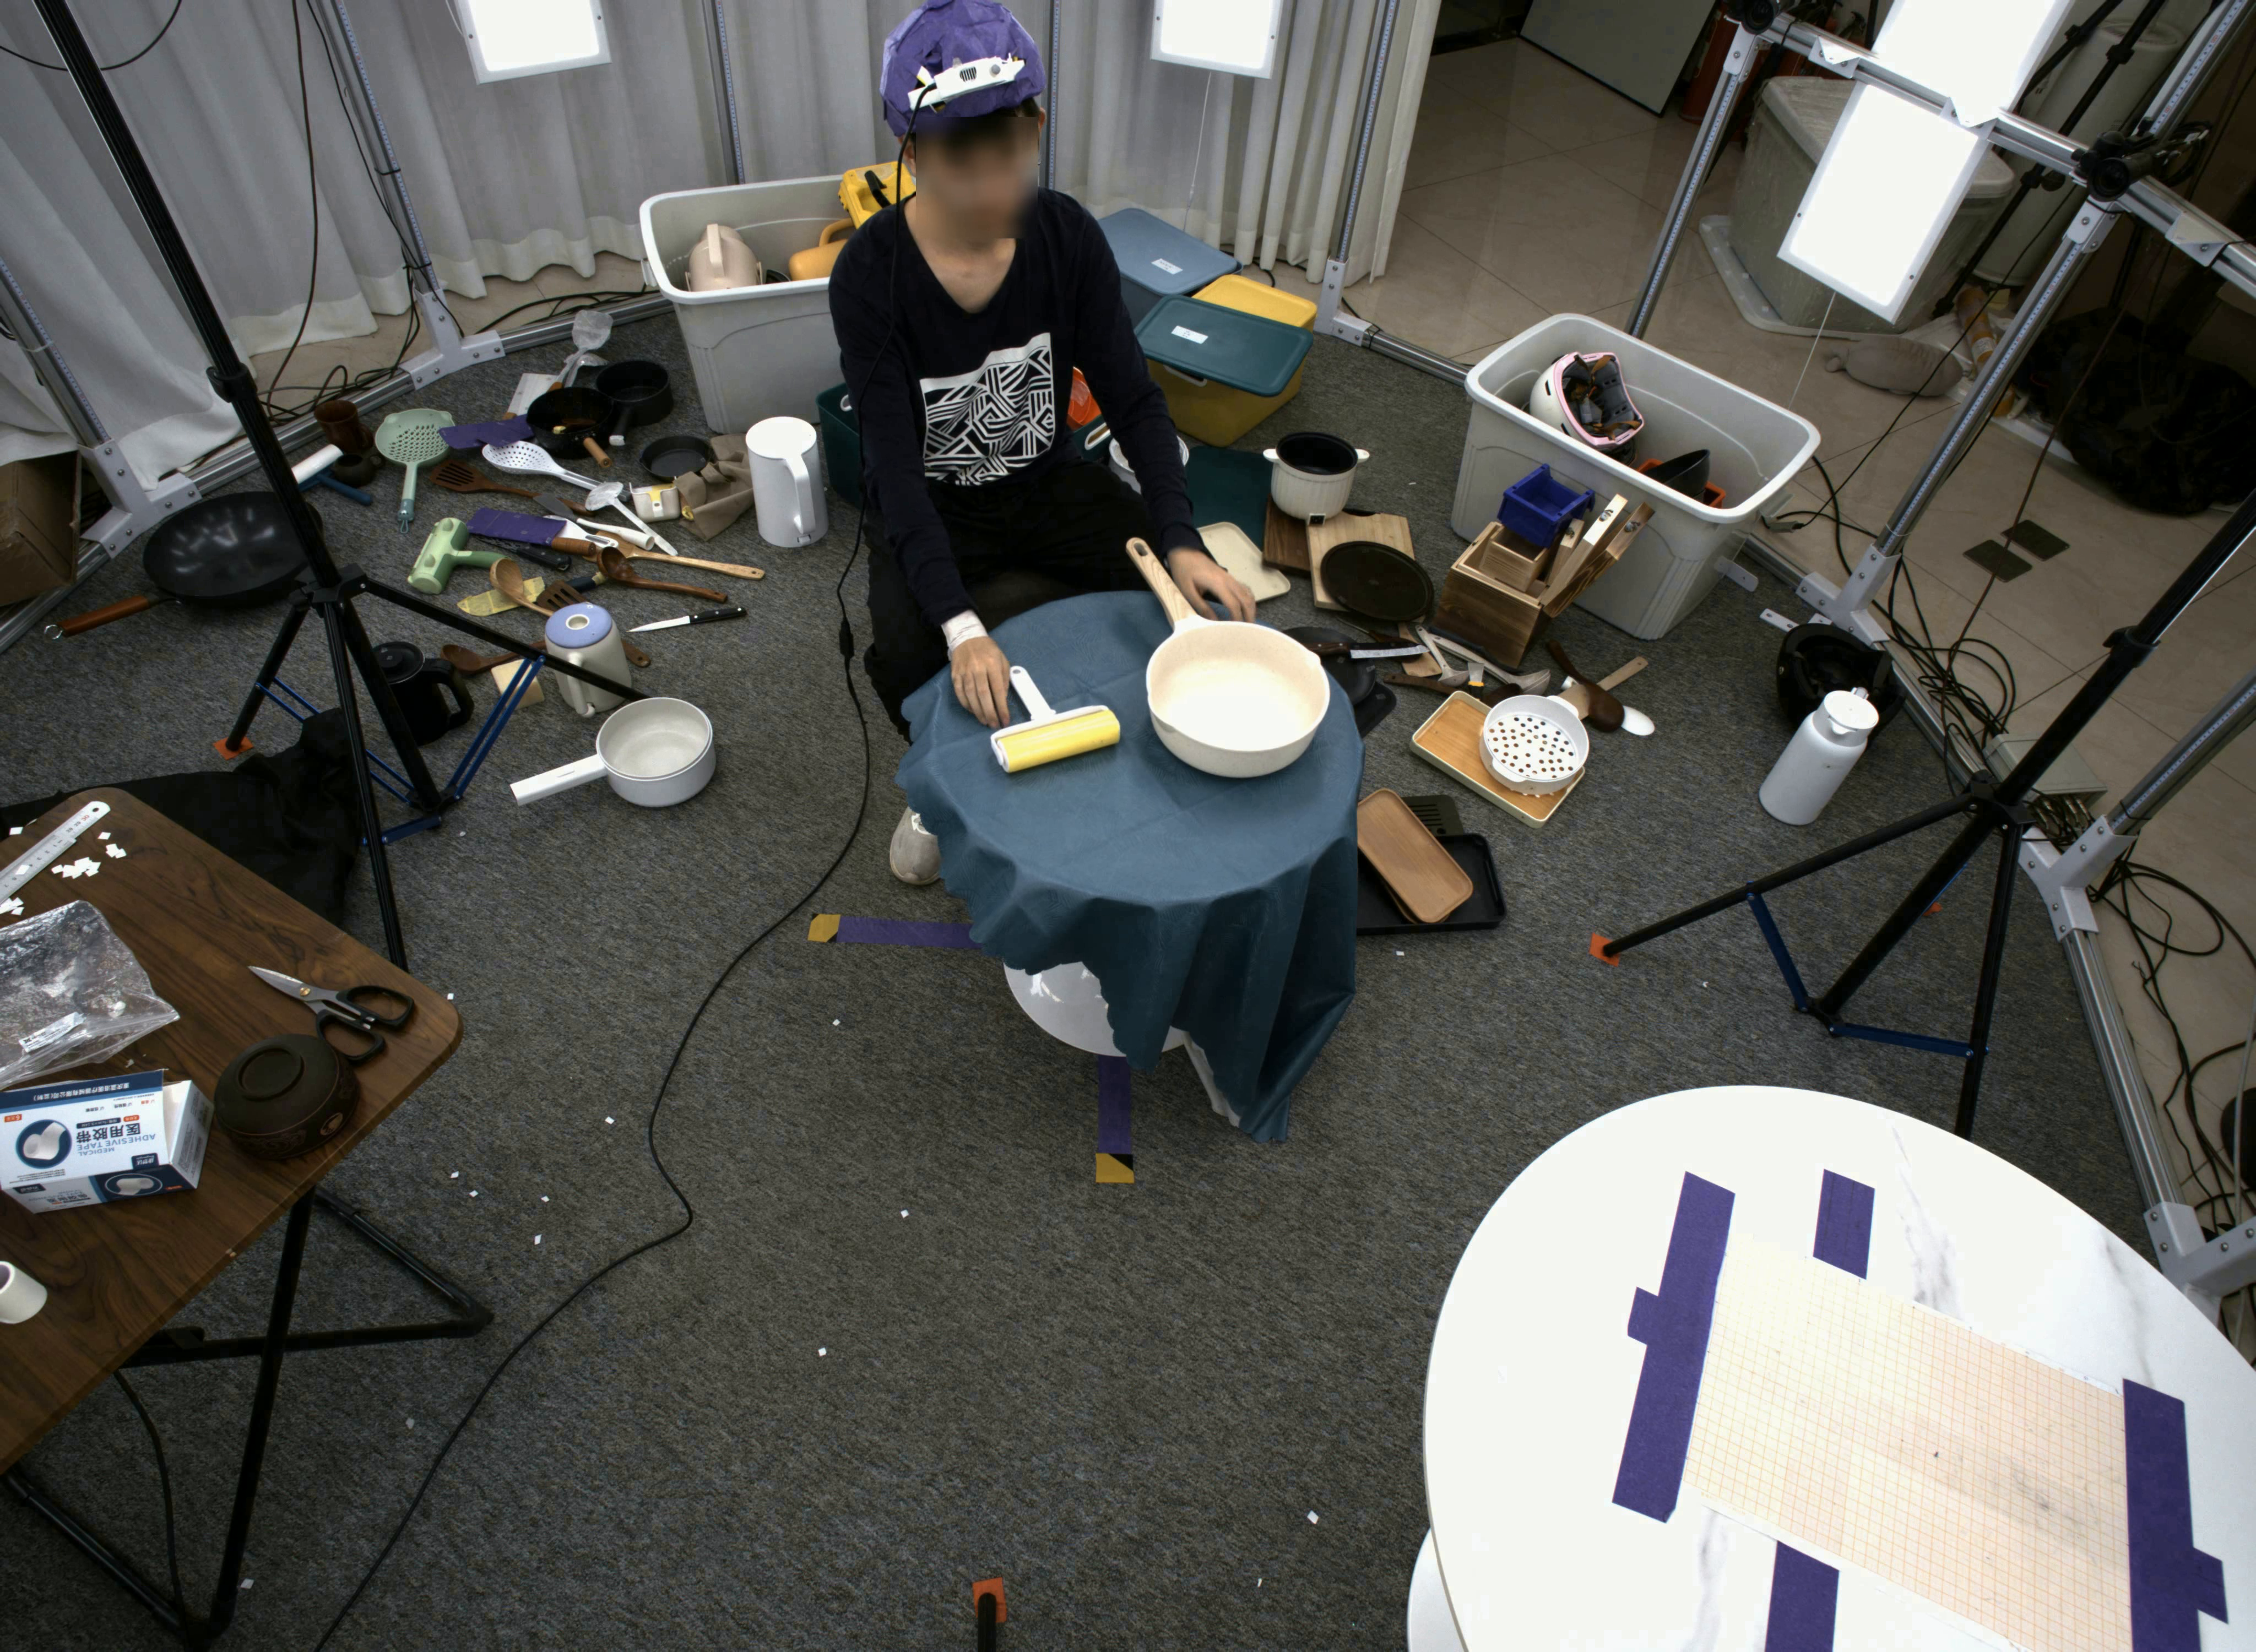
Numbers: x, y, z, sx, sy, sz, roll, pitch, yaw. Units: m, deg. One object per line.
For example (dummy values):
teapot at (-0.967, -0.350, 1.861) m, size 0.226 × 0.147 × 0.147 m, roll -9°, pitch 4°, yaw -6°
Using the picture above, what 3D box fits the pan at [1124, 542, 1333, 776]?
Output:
pan at (0.109, -0.240, 1.820) m, size 0.264 × 0.099 × 0.444 m, roll -22°, pitch 53°, yaw -18°

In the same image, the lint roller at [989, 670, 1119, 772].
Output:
lint roller at (-0.126, -0.165, 1.773) m, size 0.174 × 0.050 × 0.196 m, roll -16°, pitch 52°, yaw -18°
